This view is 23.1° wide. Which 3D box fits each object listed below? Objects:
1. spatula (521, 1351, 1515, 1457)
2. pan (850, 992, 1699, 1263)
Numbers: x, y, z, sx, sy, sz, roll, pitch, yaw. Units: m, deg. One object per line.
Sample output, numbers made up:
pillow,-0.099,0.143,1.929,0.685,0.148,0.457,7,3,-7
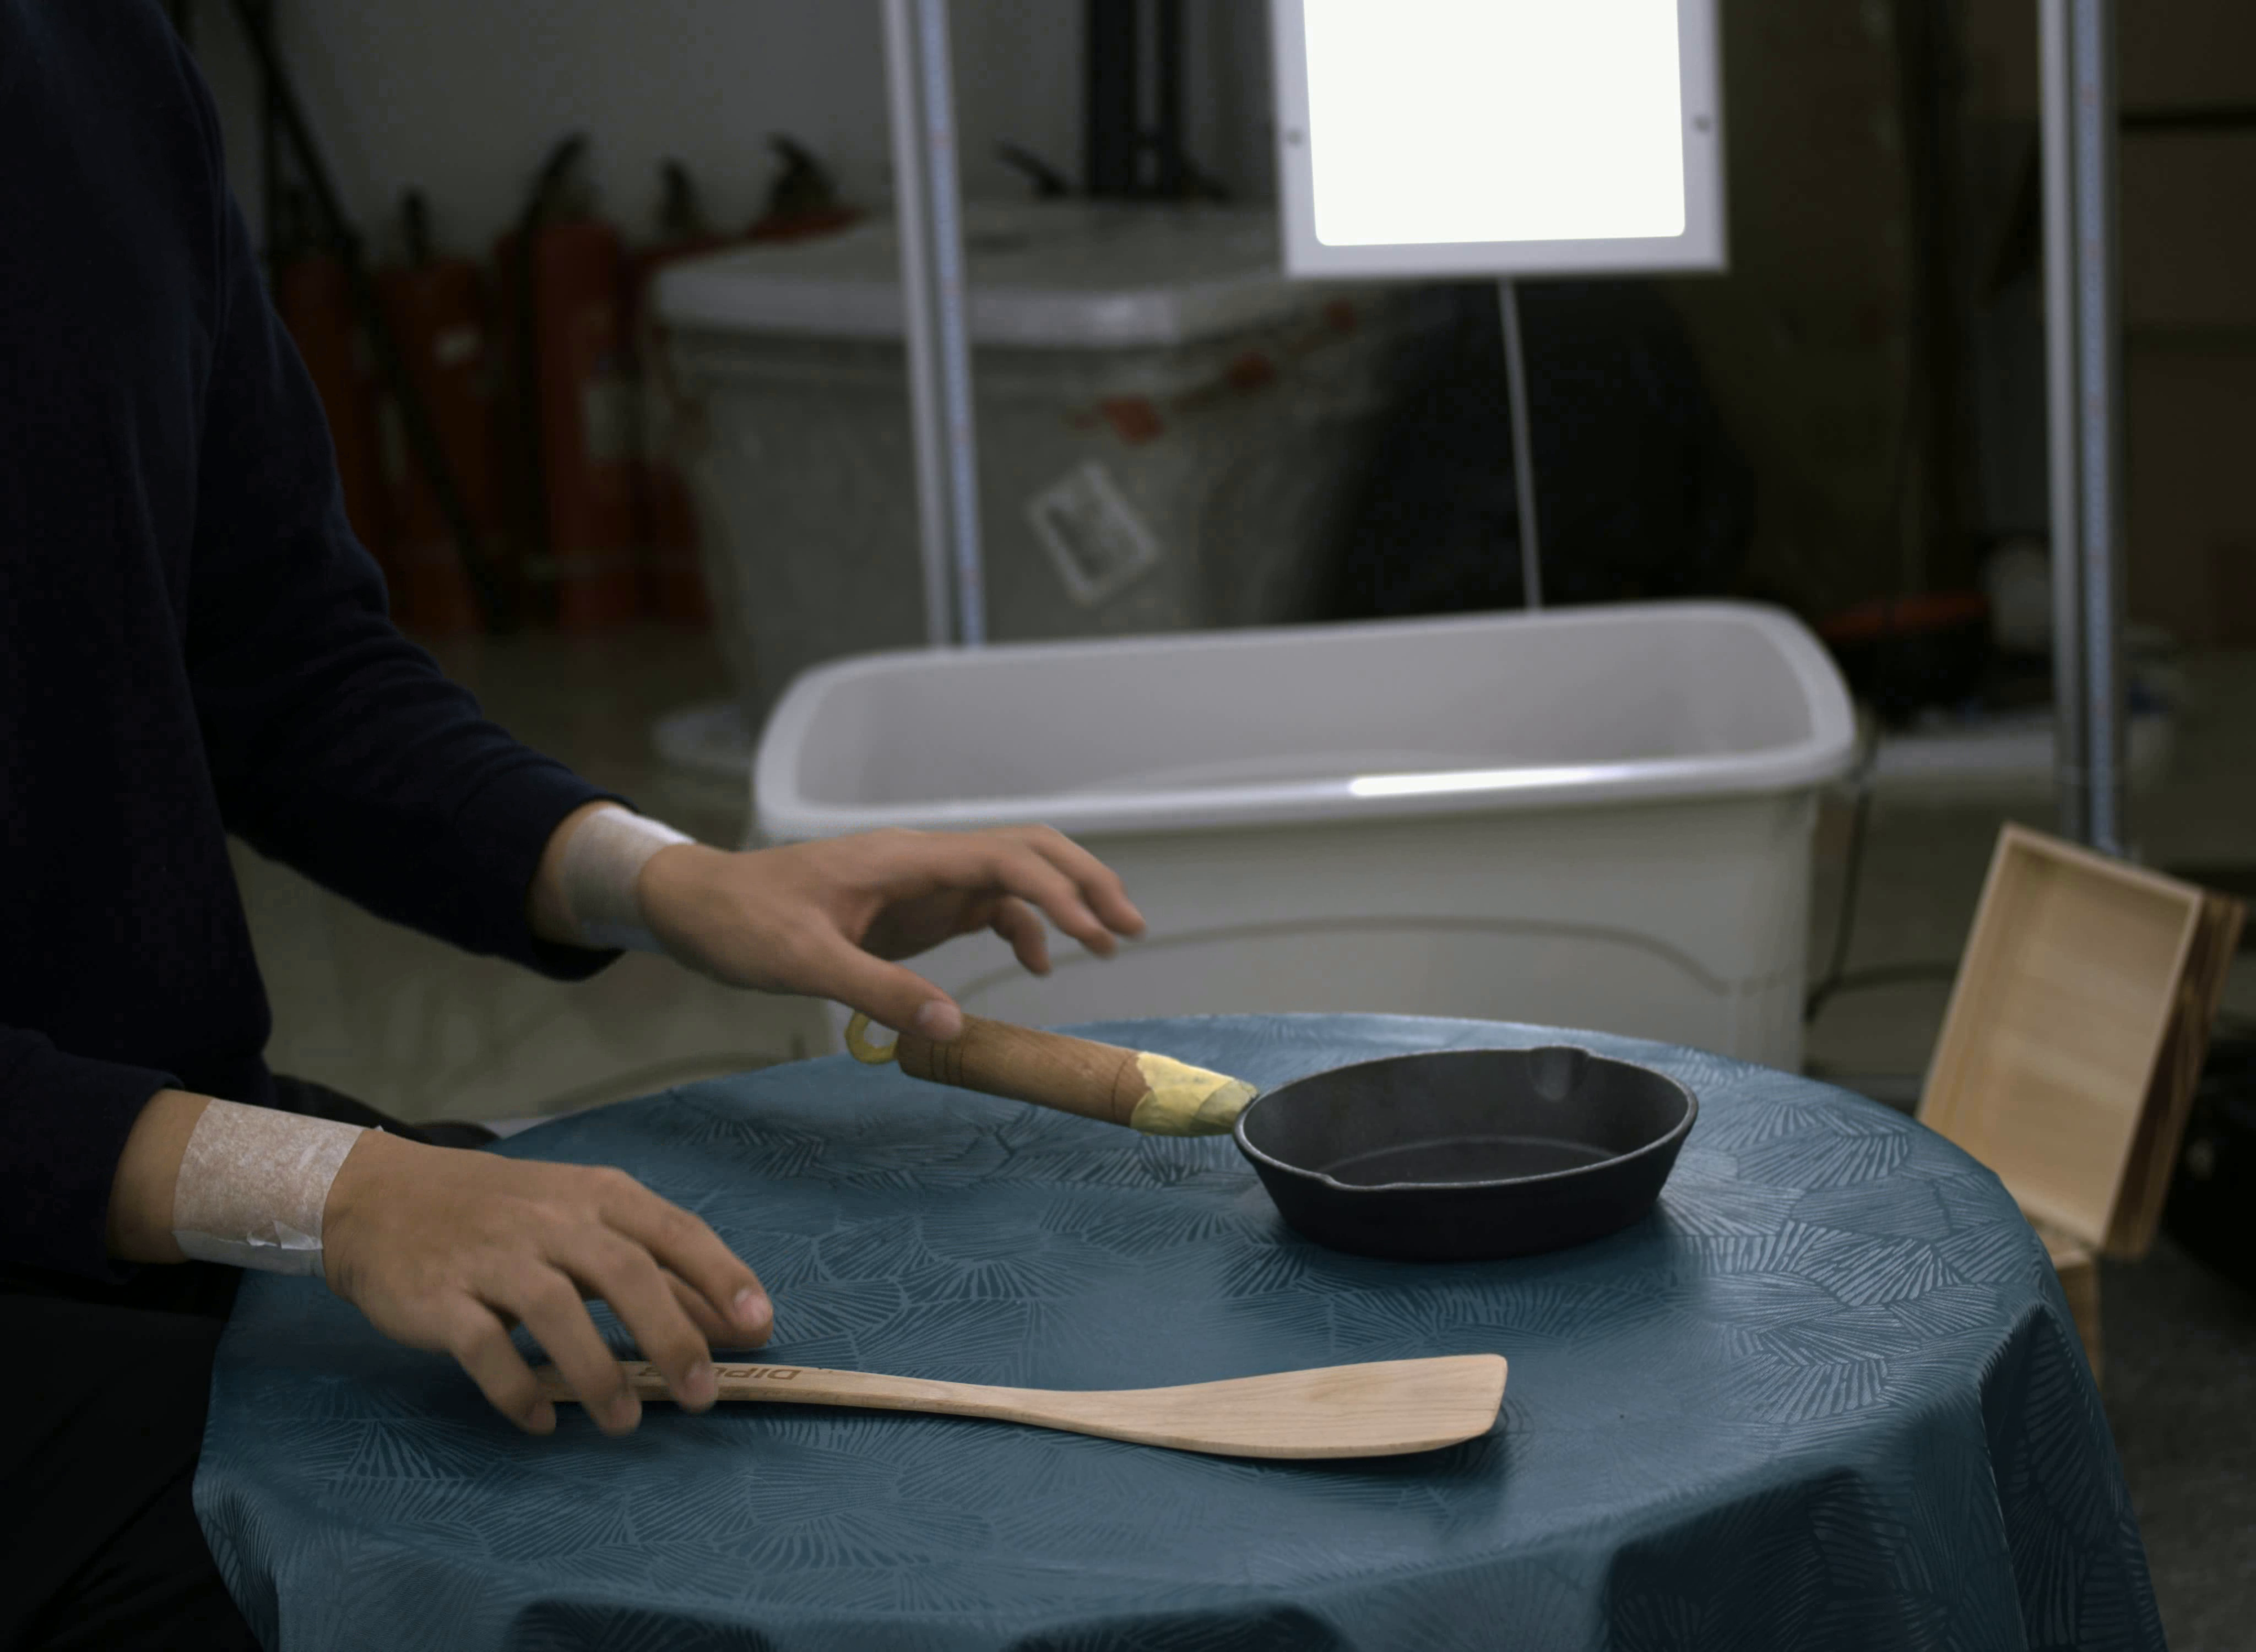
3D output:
spatula,-0.036,0.173,1.690,0.332,0.016,0.078,0,14,21
pan,0.042,0.097,1.893,0.330,0.050,0.165,6,18,33
